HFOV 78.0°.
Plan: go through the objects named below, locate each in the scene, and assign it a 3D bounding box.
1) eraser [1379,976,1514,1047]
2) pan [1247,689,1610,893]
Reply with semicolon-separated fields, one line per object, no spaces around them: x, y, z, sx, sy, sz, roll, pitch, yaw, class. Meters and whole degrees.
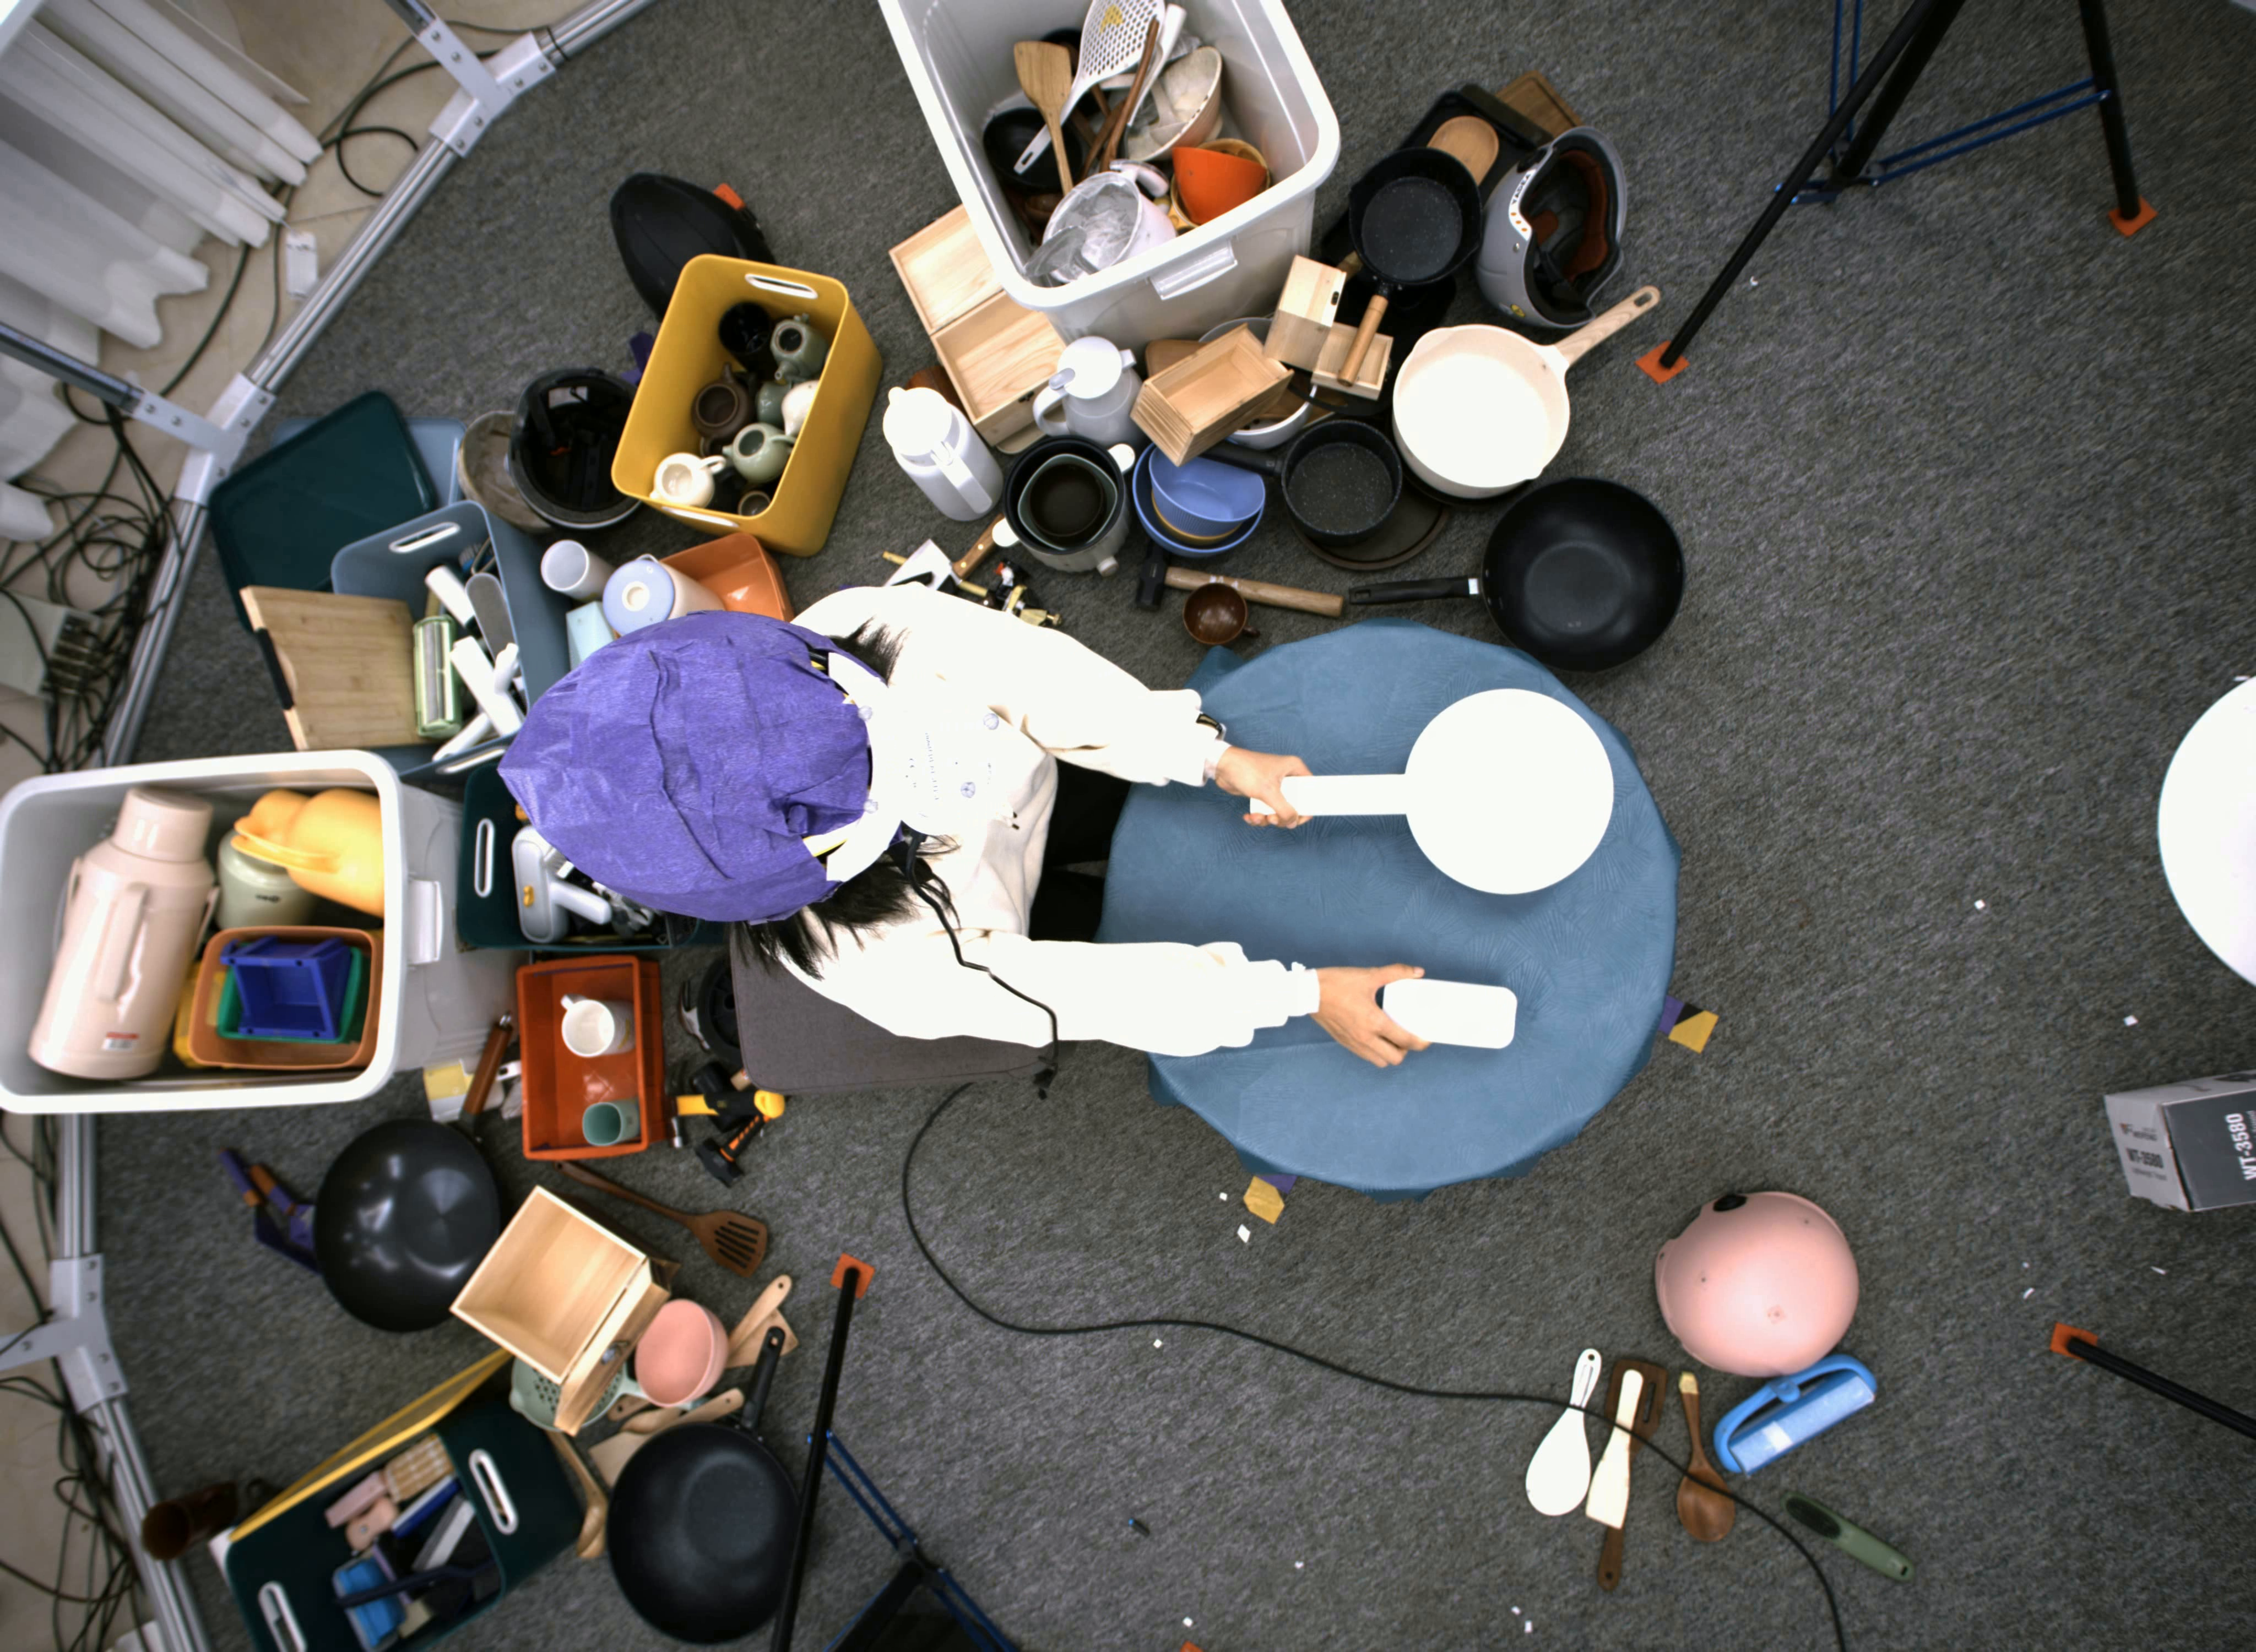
0.321;0.182;1.393;0.132;0.034;0.064;5;97;13;eraser
0.302;-0.032;1.404;0.356;0.102;0.200;-1;86;13;pan
